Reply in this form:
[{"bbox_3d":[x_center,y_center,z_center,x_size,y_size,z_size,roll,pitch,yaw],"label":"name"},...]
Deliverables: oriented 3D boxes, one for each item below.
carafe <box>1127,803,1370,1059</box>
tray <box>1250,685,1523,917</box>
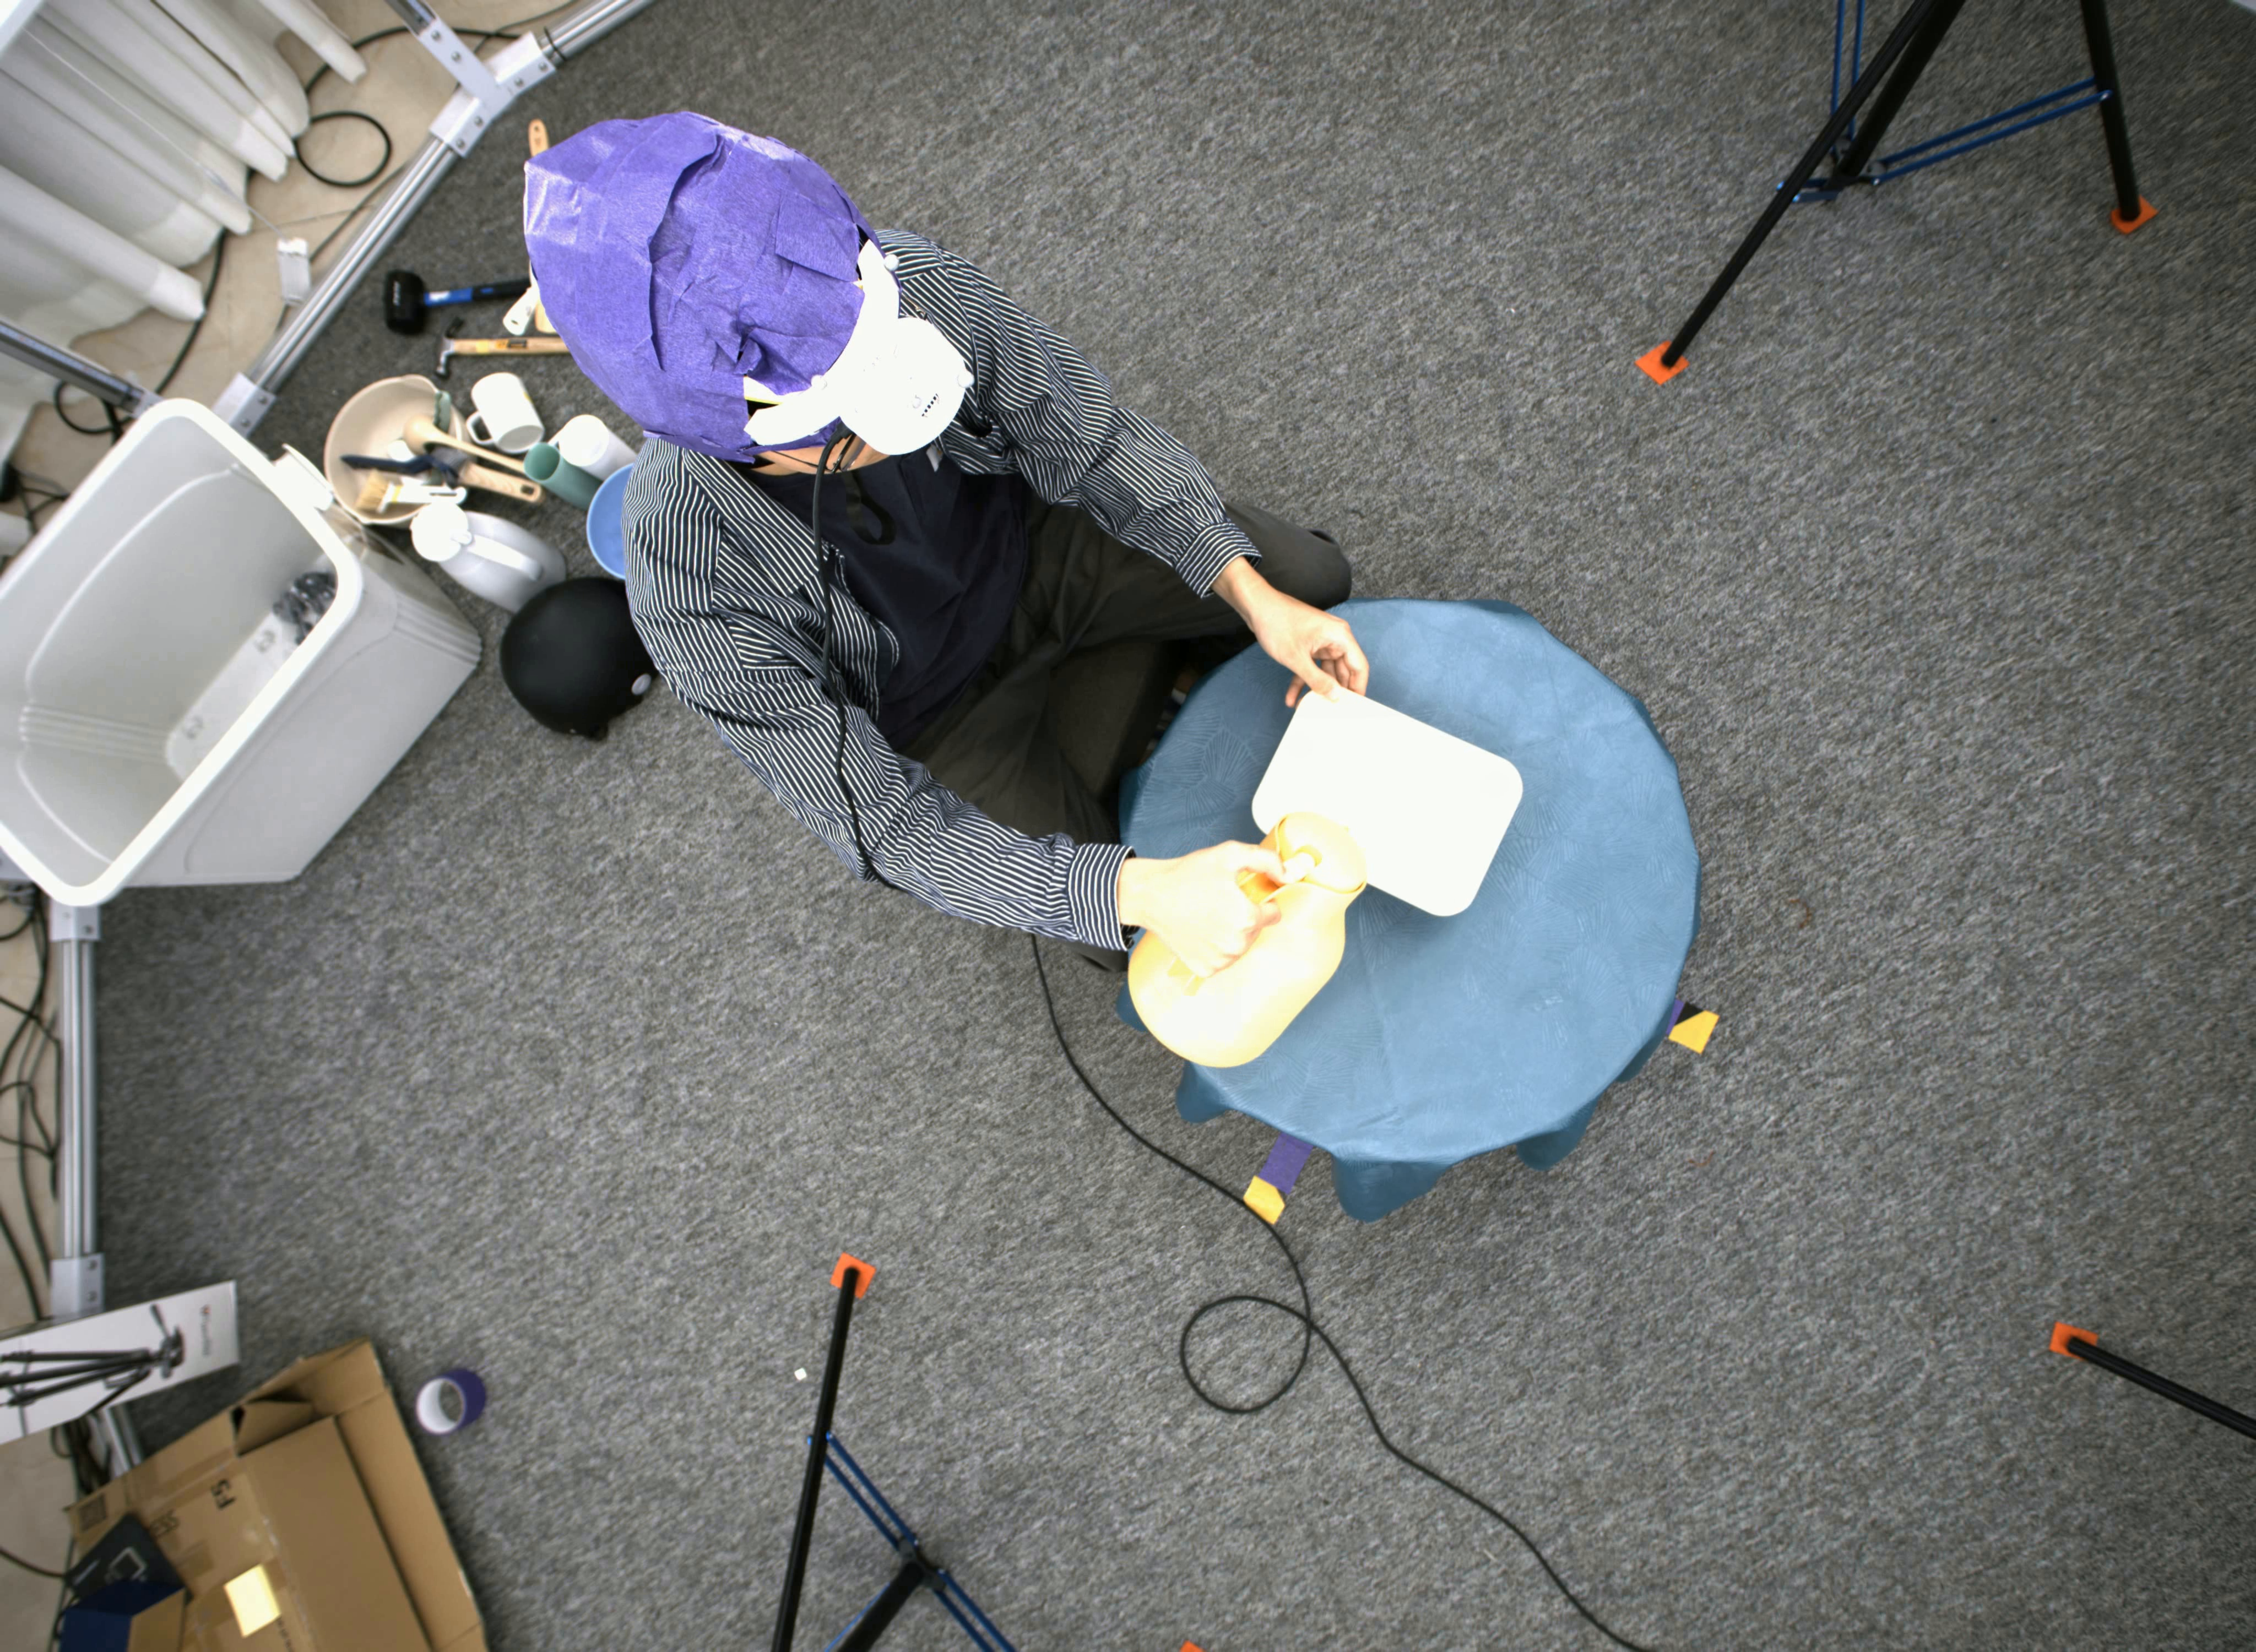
[{"bbox_3d":[0.107,0.096,1.283,0.162,0.199,0.267,46,129,15],"label":"carafe"},{"bbox_3d":[0.255,-0.027,1.366,0.239,0.017,0.171,26,89,10],"label":"tray"}]
